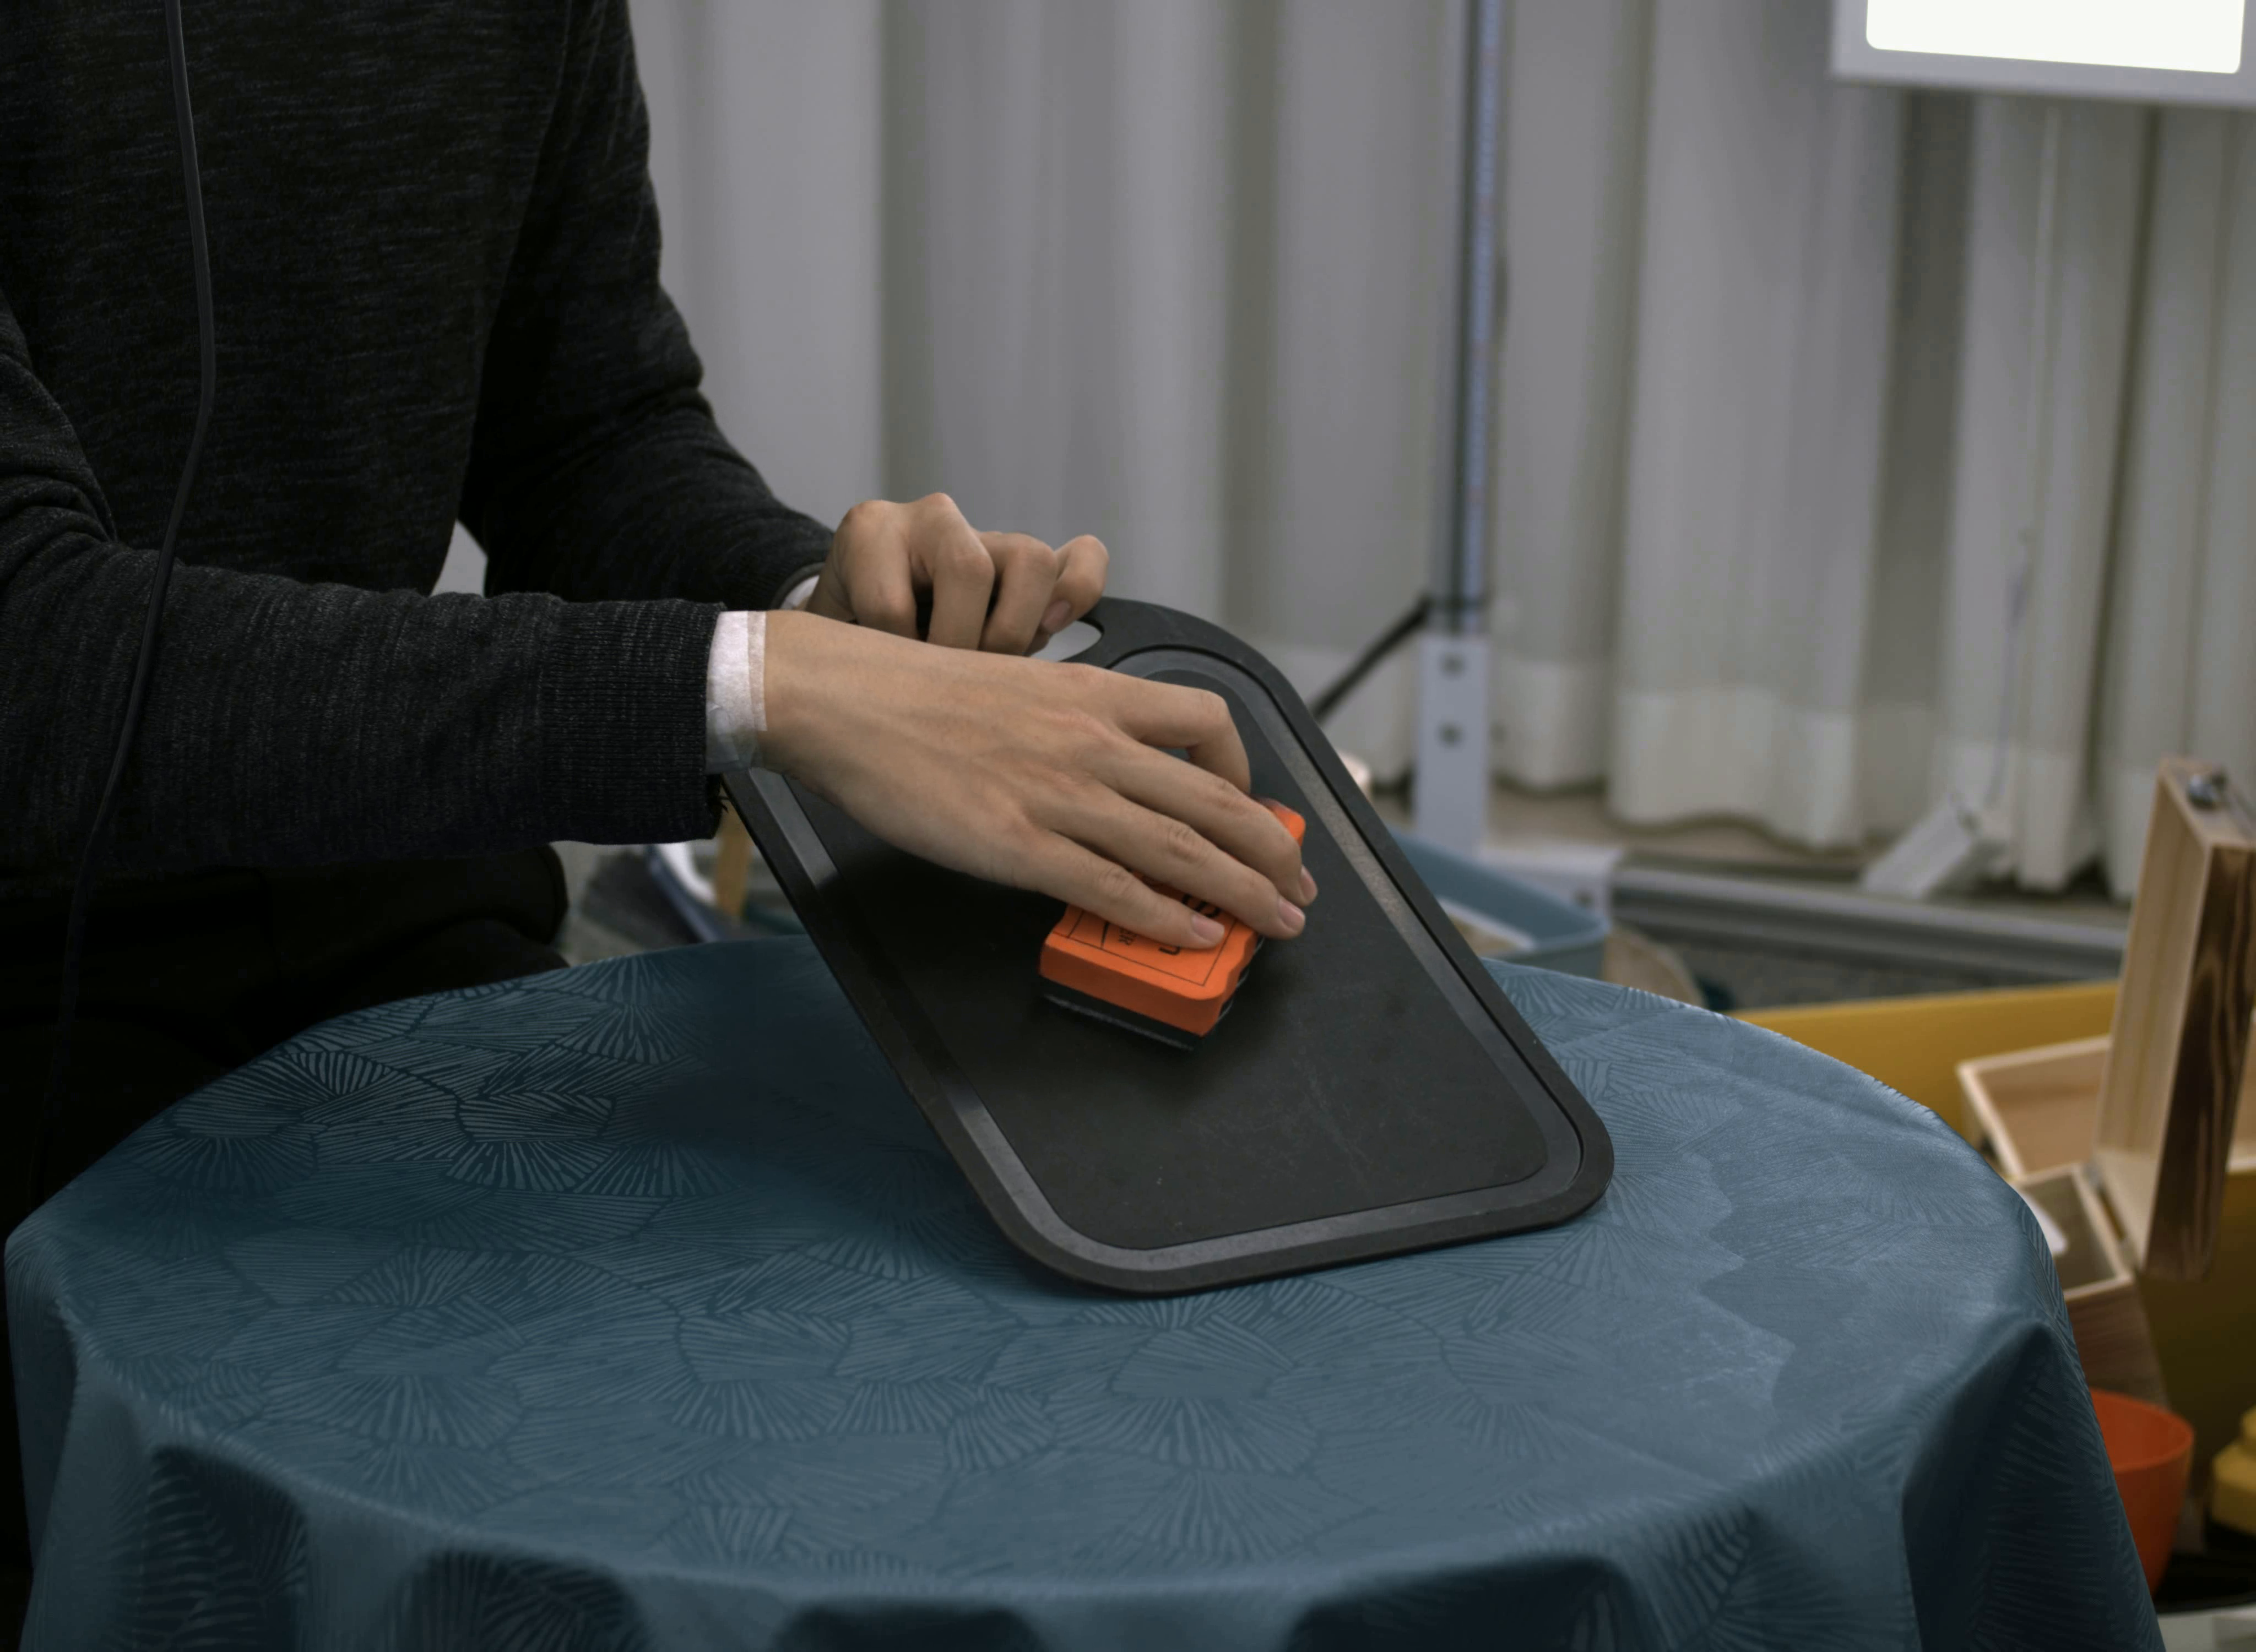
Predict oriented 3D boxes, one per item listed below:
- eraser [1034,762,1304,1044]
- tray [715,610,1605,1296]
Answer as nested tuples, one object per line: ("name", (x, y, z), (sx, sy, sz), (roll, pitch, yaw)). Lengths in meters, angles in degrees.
("eraser", (0.014, 0.023, 1.661), (0.058, 0.023, 0.107), (19, 38, 9))
("tray", (0.003, 0.029, 1.665), (0.212, 0.010, 0.321), (-7, 42, -27))
